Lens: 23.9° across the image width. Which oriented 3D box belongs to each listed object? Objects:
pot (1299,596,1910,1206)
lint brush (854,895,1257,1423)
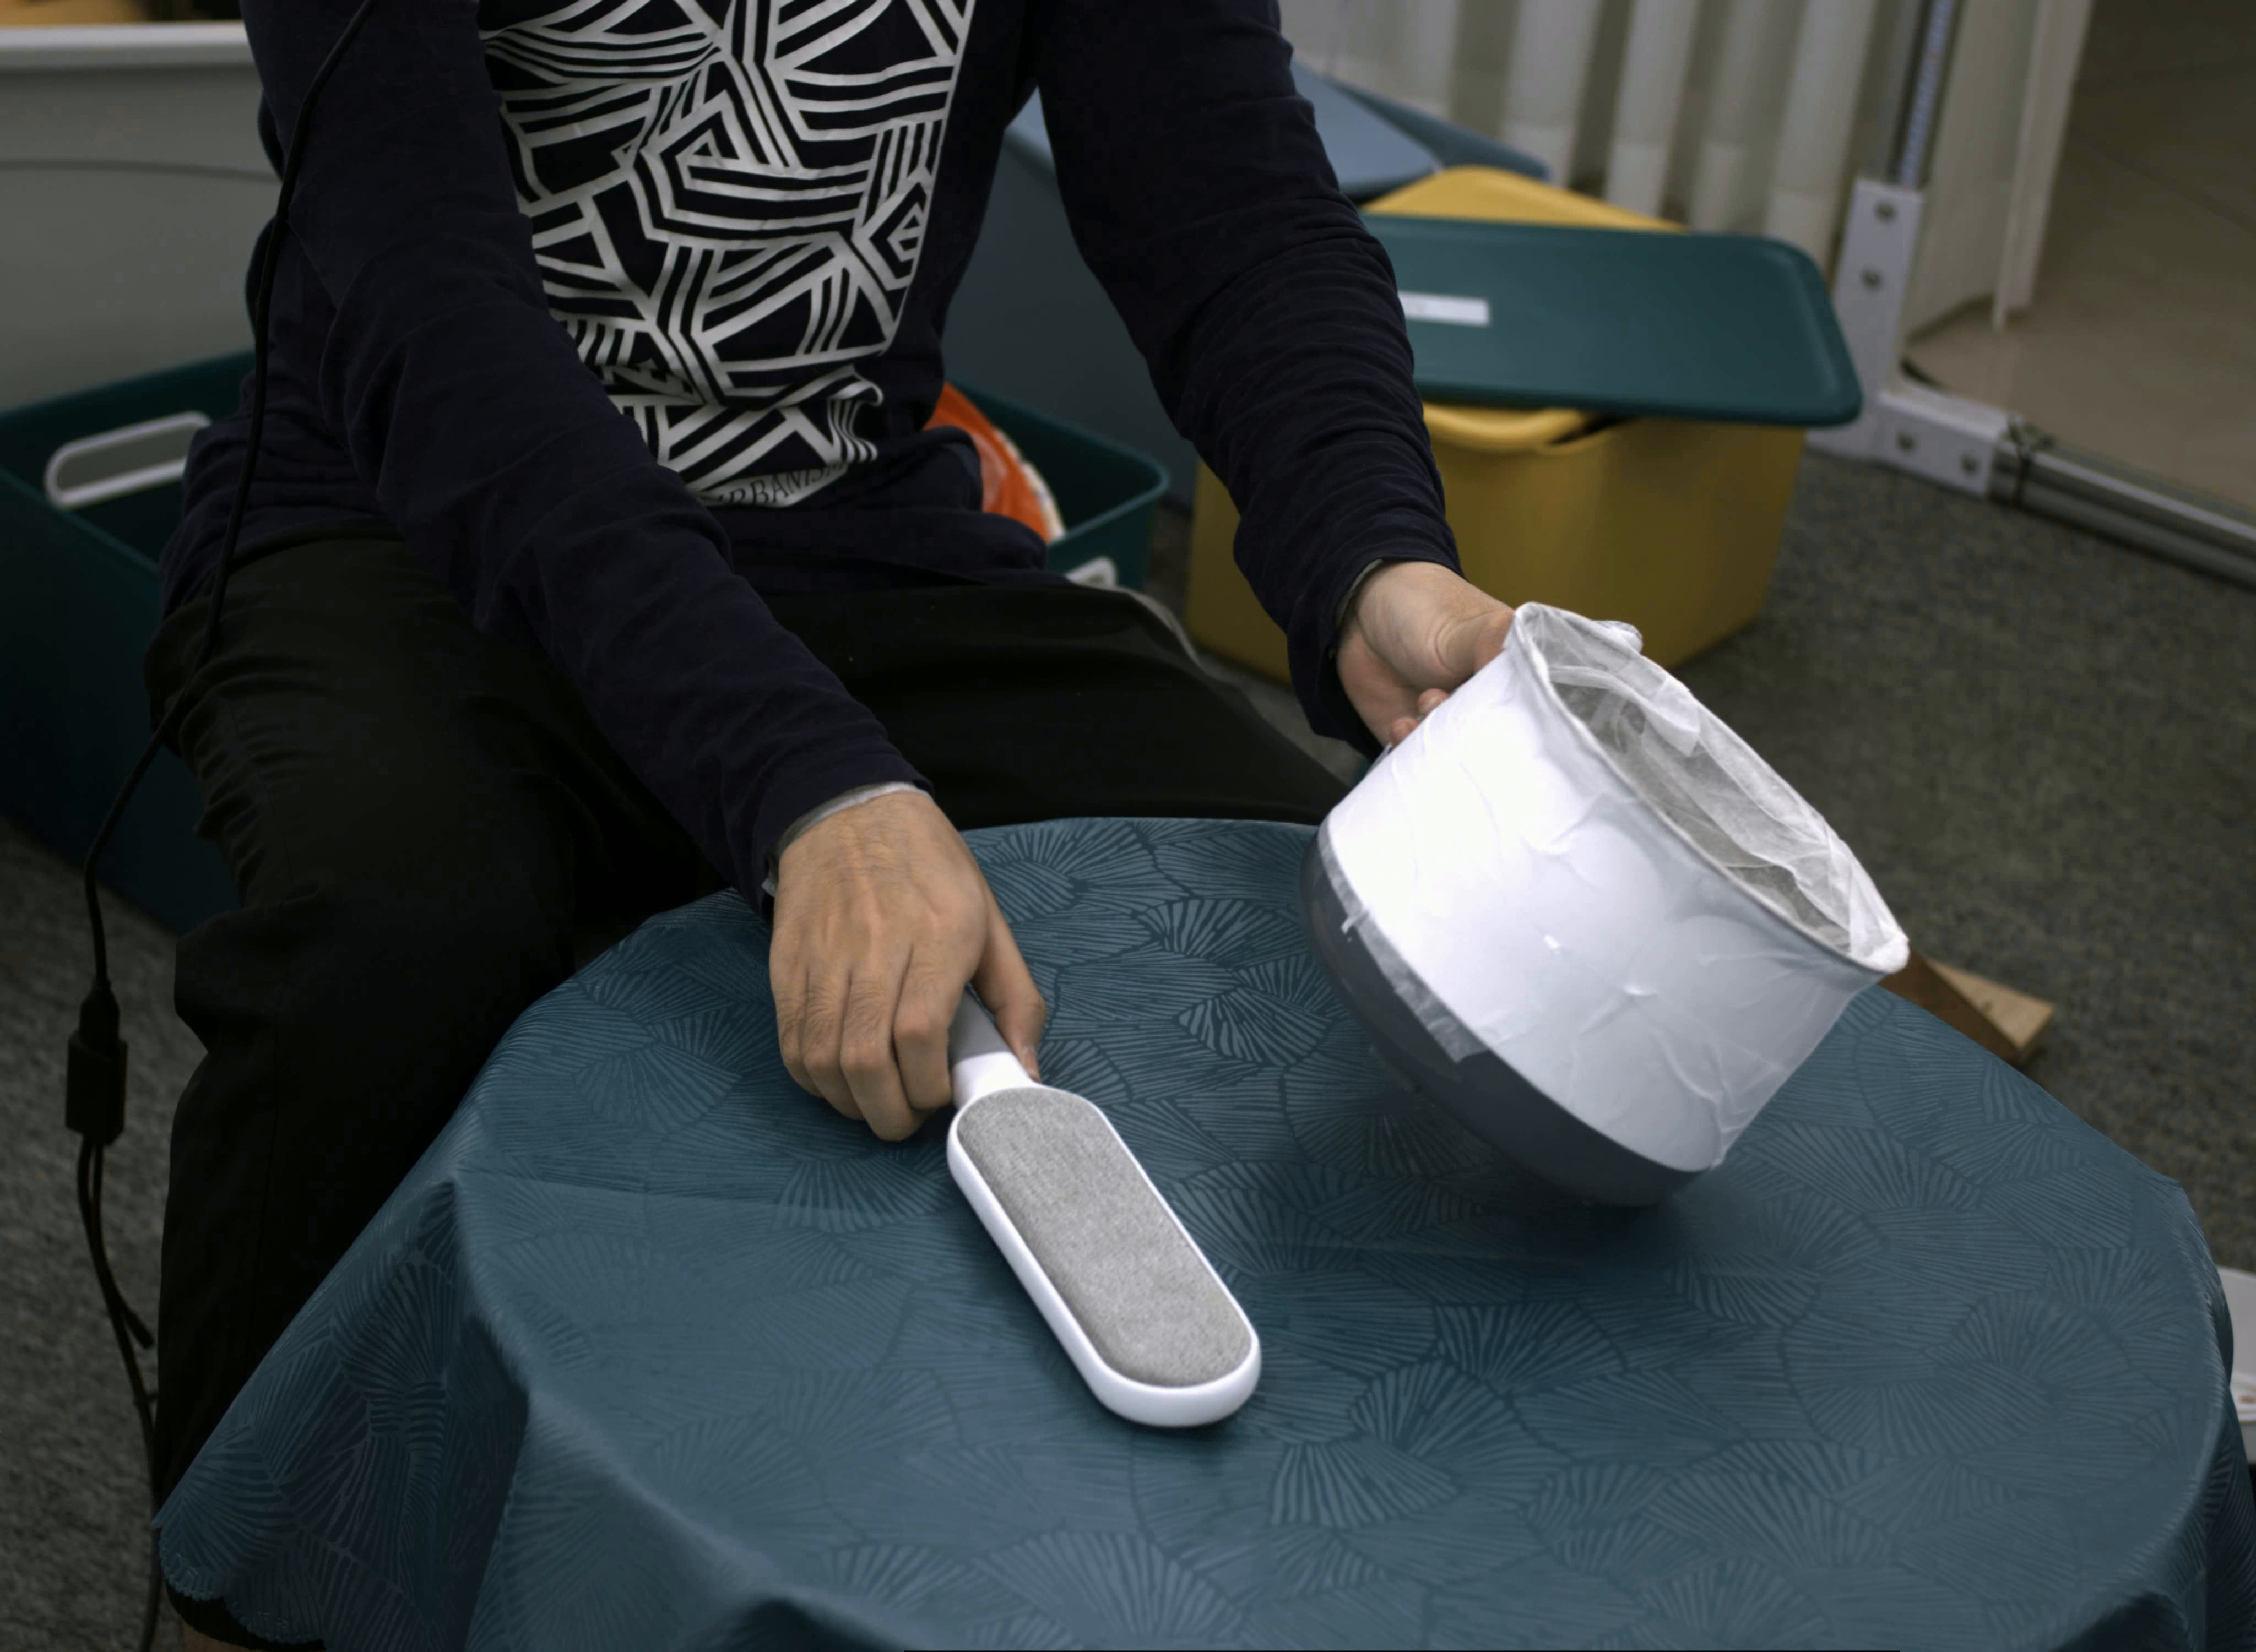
[{"bbox_3d":[0.150,0.015,1.823,0.177,0.136,0.236,34,19,-30],"label":"pot"},{"bbox_3d":[-0.032,0.106,1.788,0.060,0.021,0.312,-16,35,-16],"label":"lint brush"}]
